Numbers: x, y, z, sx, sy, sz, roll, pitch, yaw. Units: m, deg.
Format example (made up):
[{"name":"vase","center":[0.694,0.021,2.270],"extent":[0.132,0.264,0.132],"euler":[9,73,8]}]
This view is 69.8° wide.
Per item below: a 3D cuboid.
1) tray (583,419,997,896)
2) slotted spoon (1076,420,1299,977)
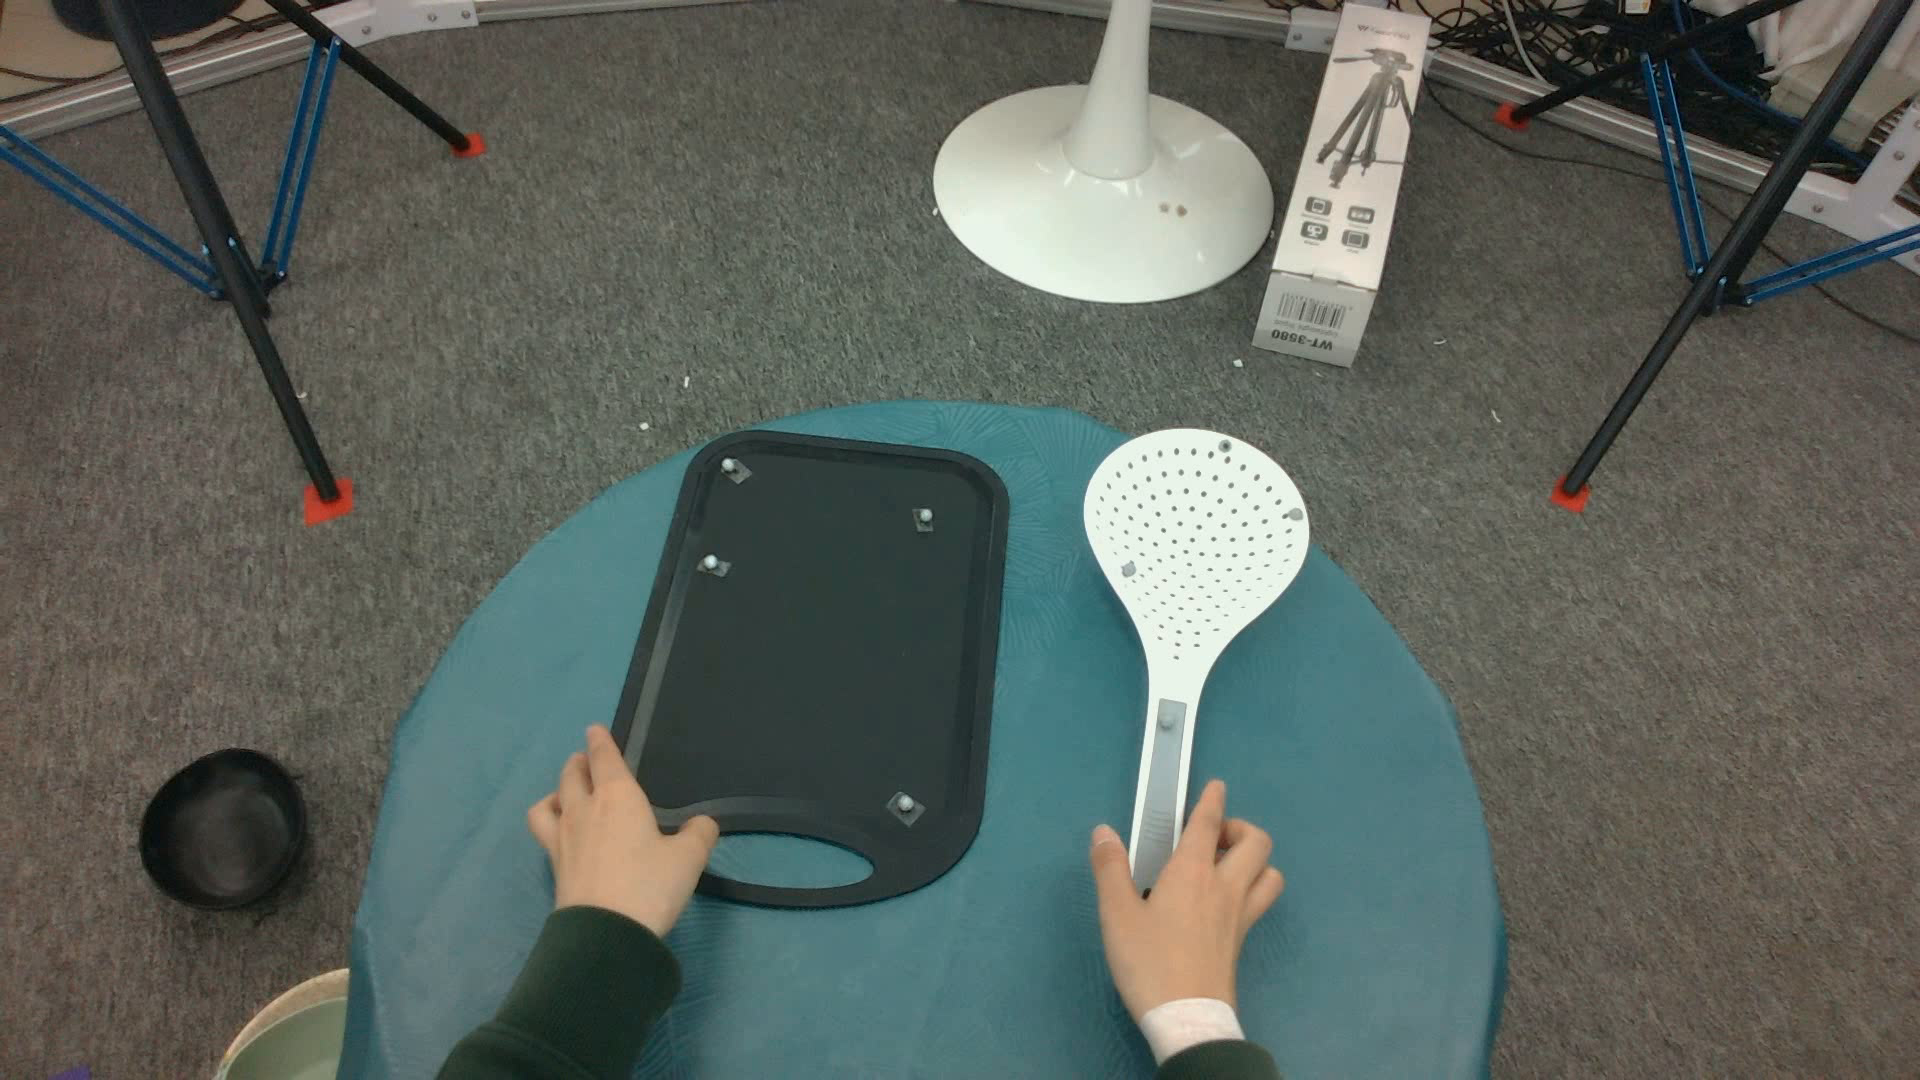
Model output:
[{"name":"tray","center":[-0.090,0.053,0.806],"extent":[0.211,0.010,0.327],"euler":[6,52,0]},{"name":"slotted spoon","center":[0.117,0.074,0.784],"extent":[0.136,0.045,0.351],"euler":[10,52,5]}]
